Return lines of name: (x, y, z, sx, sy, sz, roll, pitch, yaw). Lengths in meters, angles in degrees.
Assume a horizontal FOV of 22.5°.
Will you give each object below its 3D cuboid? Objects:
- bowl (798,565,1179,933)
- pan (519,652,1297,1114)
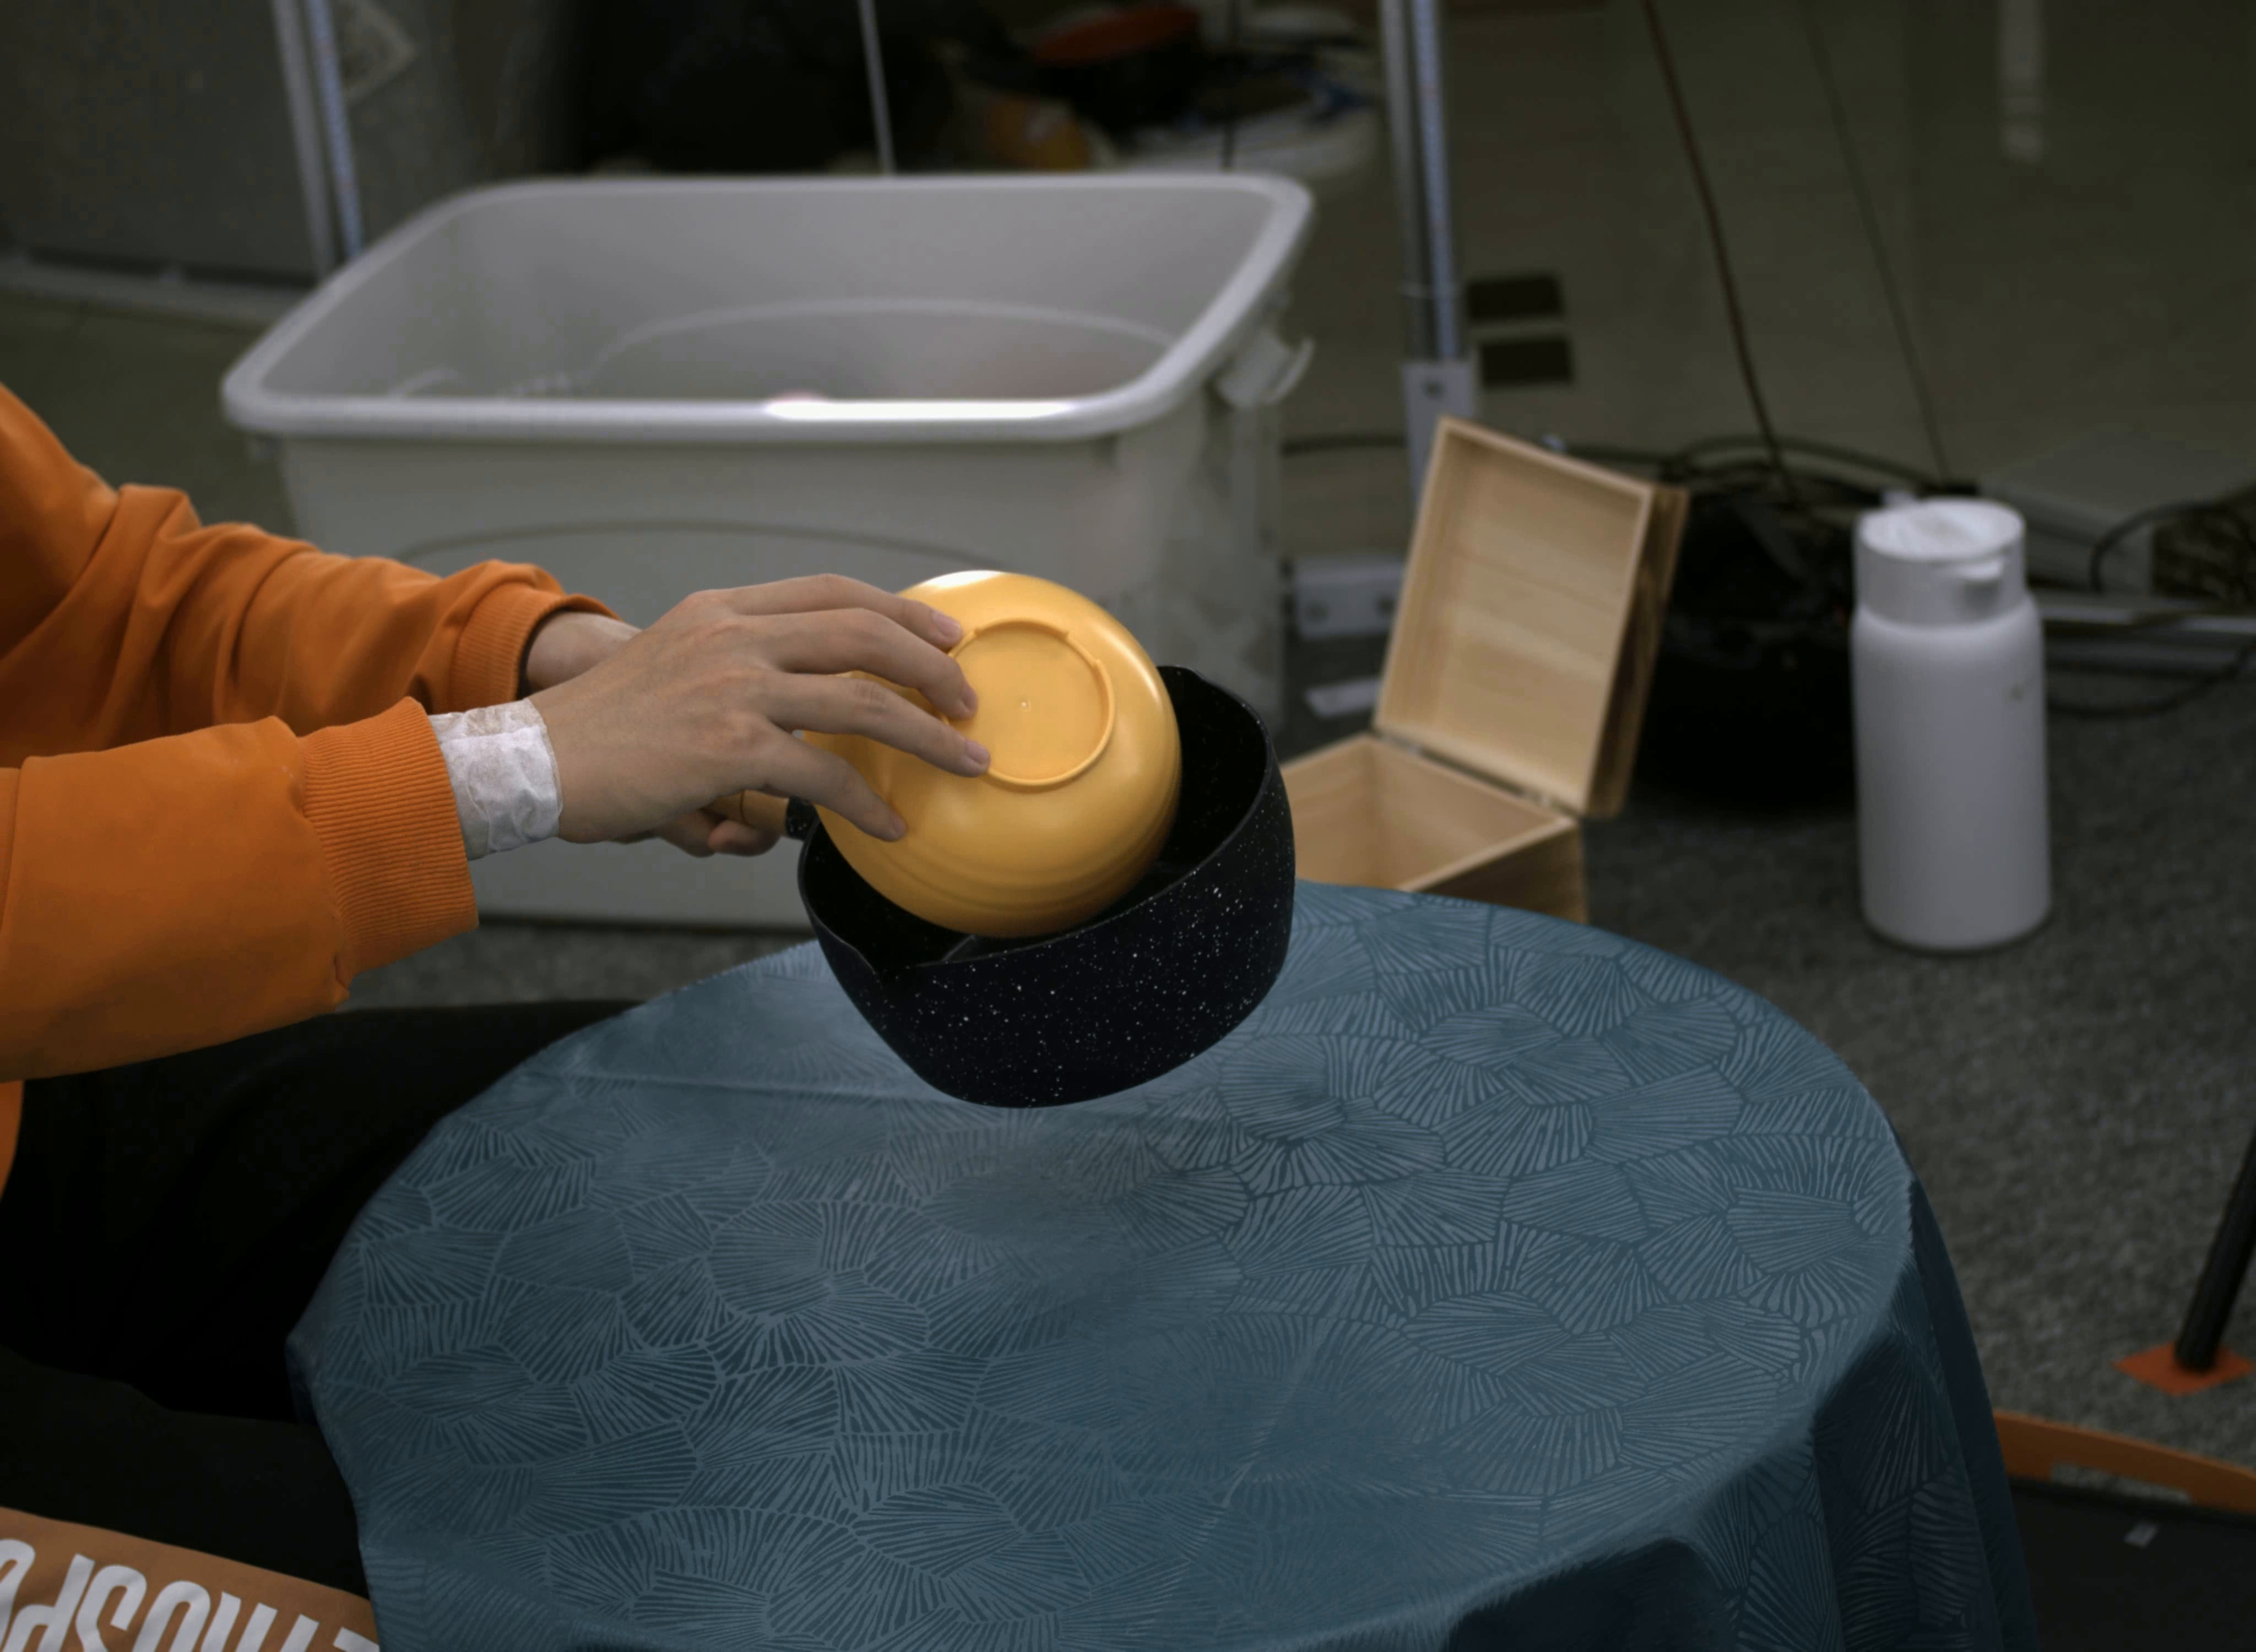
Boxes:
bowl: (-0.045, -0.038, 2.075, 0.145, 0.144, 0.061, -15, -14, -18)
pan: (-0.090, 0.011, 2.154, 0.341, 0.110, 0.205, 8, 42, 35)
